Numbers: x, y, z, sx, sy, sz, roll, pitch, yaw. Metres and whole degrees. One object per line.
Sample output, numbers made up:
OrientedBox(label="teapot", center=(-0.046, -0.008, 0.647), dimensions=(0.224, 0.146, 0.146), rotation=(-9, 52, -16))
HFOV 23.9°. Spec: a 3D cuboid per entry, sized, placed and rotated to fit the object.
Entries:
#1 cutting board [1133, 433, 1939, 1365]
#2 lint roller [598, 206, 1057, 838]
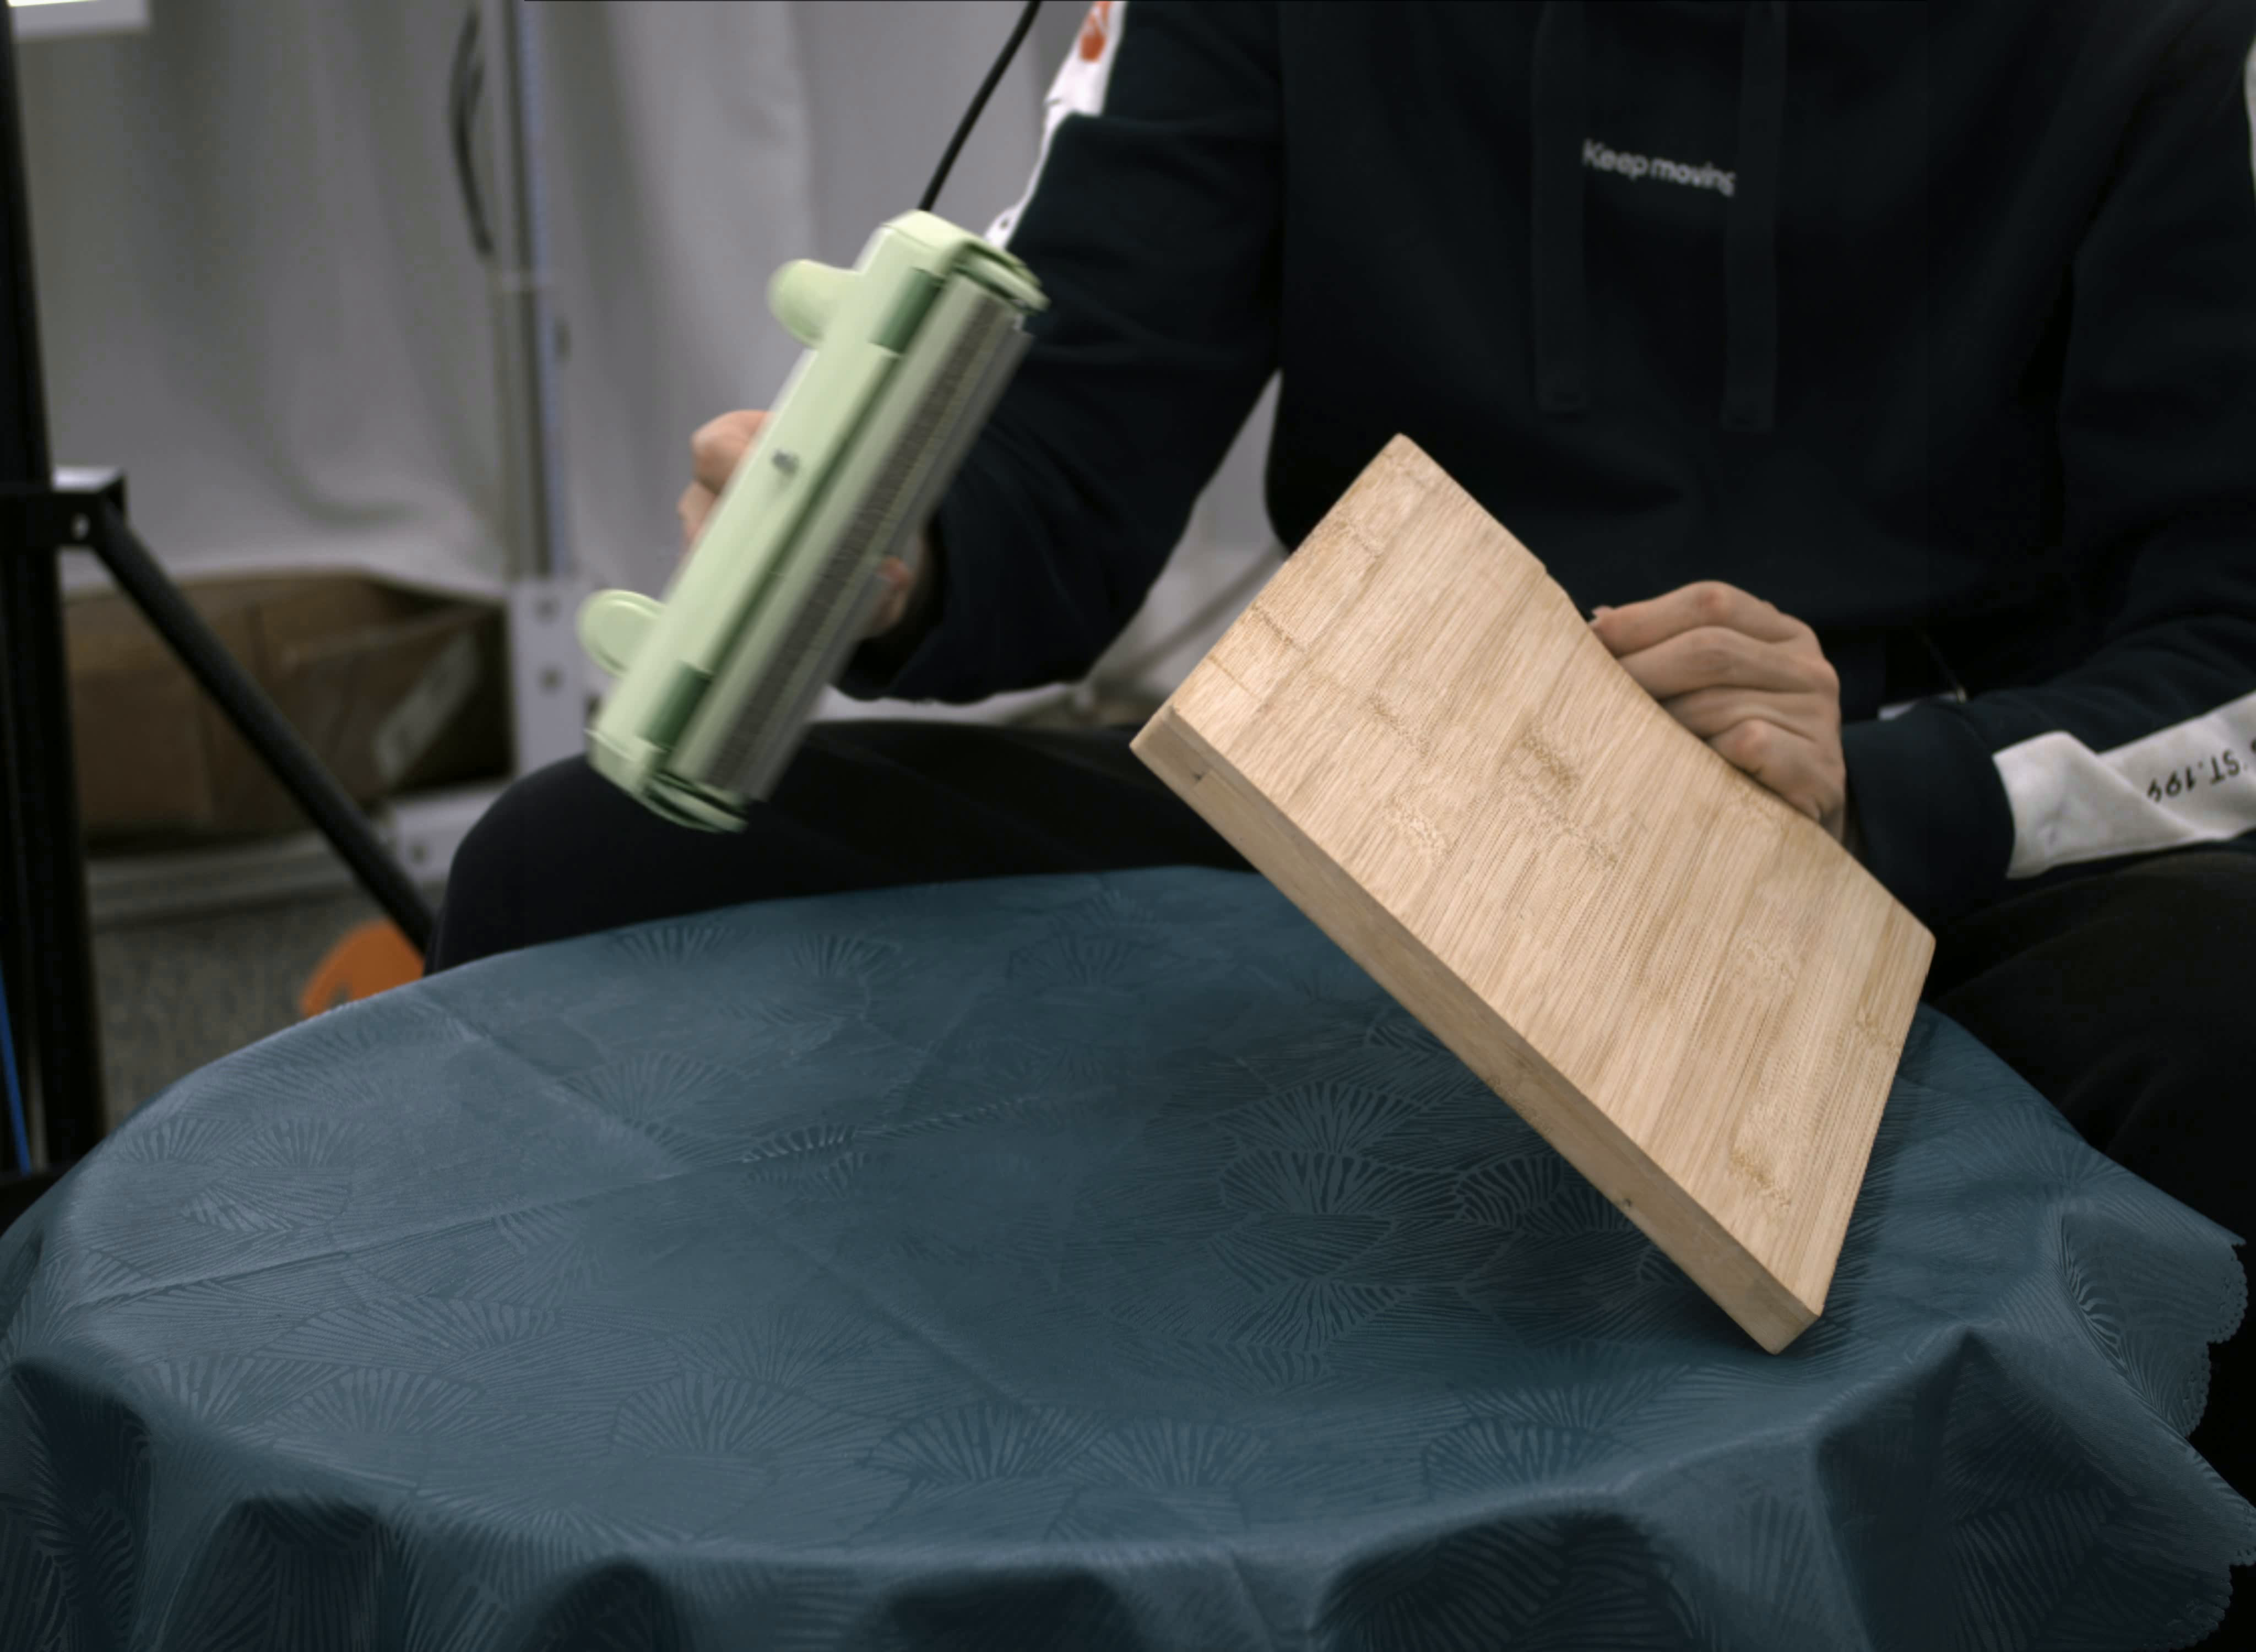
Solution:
OrientedBox(label="cutting board", center=(0.131, 0.009, 1.563), dimensions=(0.250, 0.024, 0.346), rotation=(43, 21, -1))
OrientedBox(label="lint roller", center=(-0.101, -0.099, 1.658), dimensions=(0.081, 0.199, 0.184), rotation=(29, 1, -9))
